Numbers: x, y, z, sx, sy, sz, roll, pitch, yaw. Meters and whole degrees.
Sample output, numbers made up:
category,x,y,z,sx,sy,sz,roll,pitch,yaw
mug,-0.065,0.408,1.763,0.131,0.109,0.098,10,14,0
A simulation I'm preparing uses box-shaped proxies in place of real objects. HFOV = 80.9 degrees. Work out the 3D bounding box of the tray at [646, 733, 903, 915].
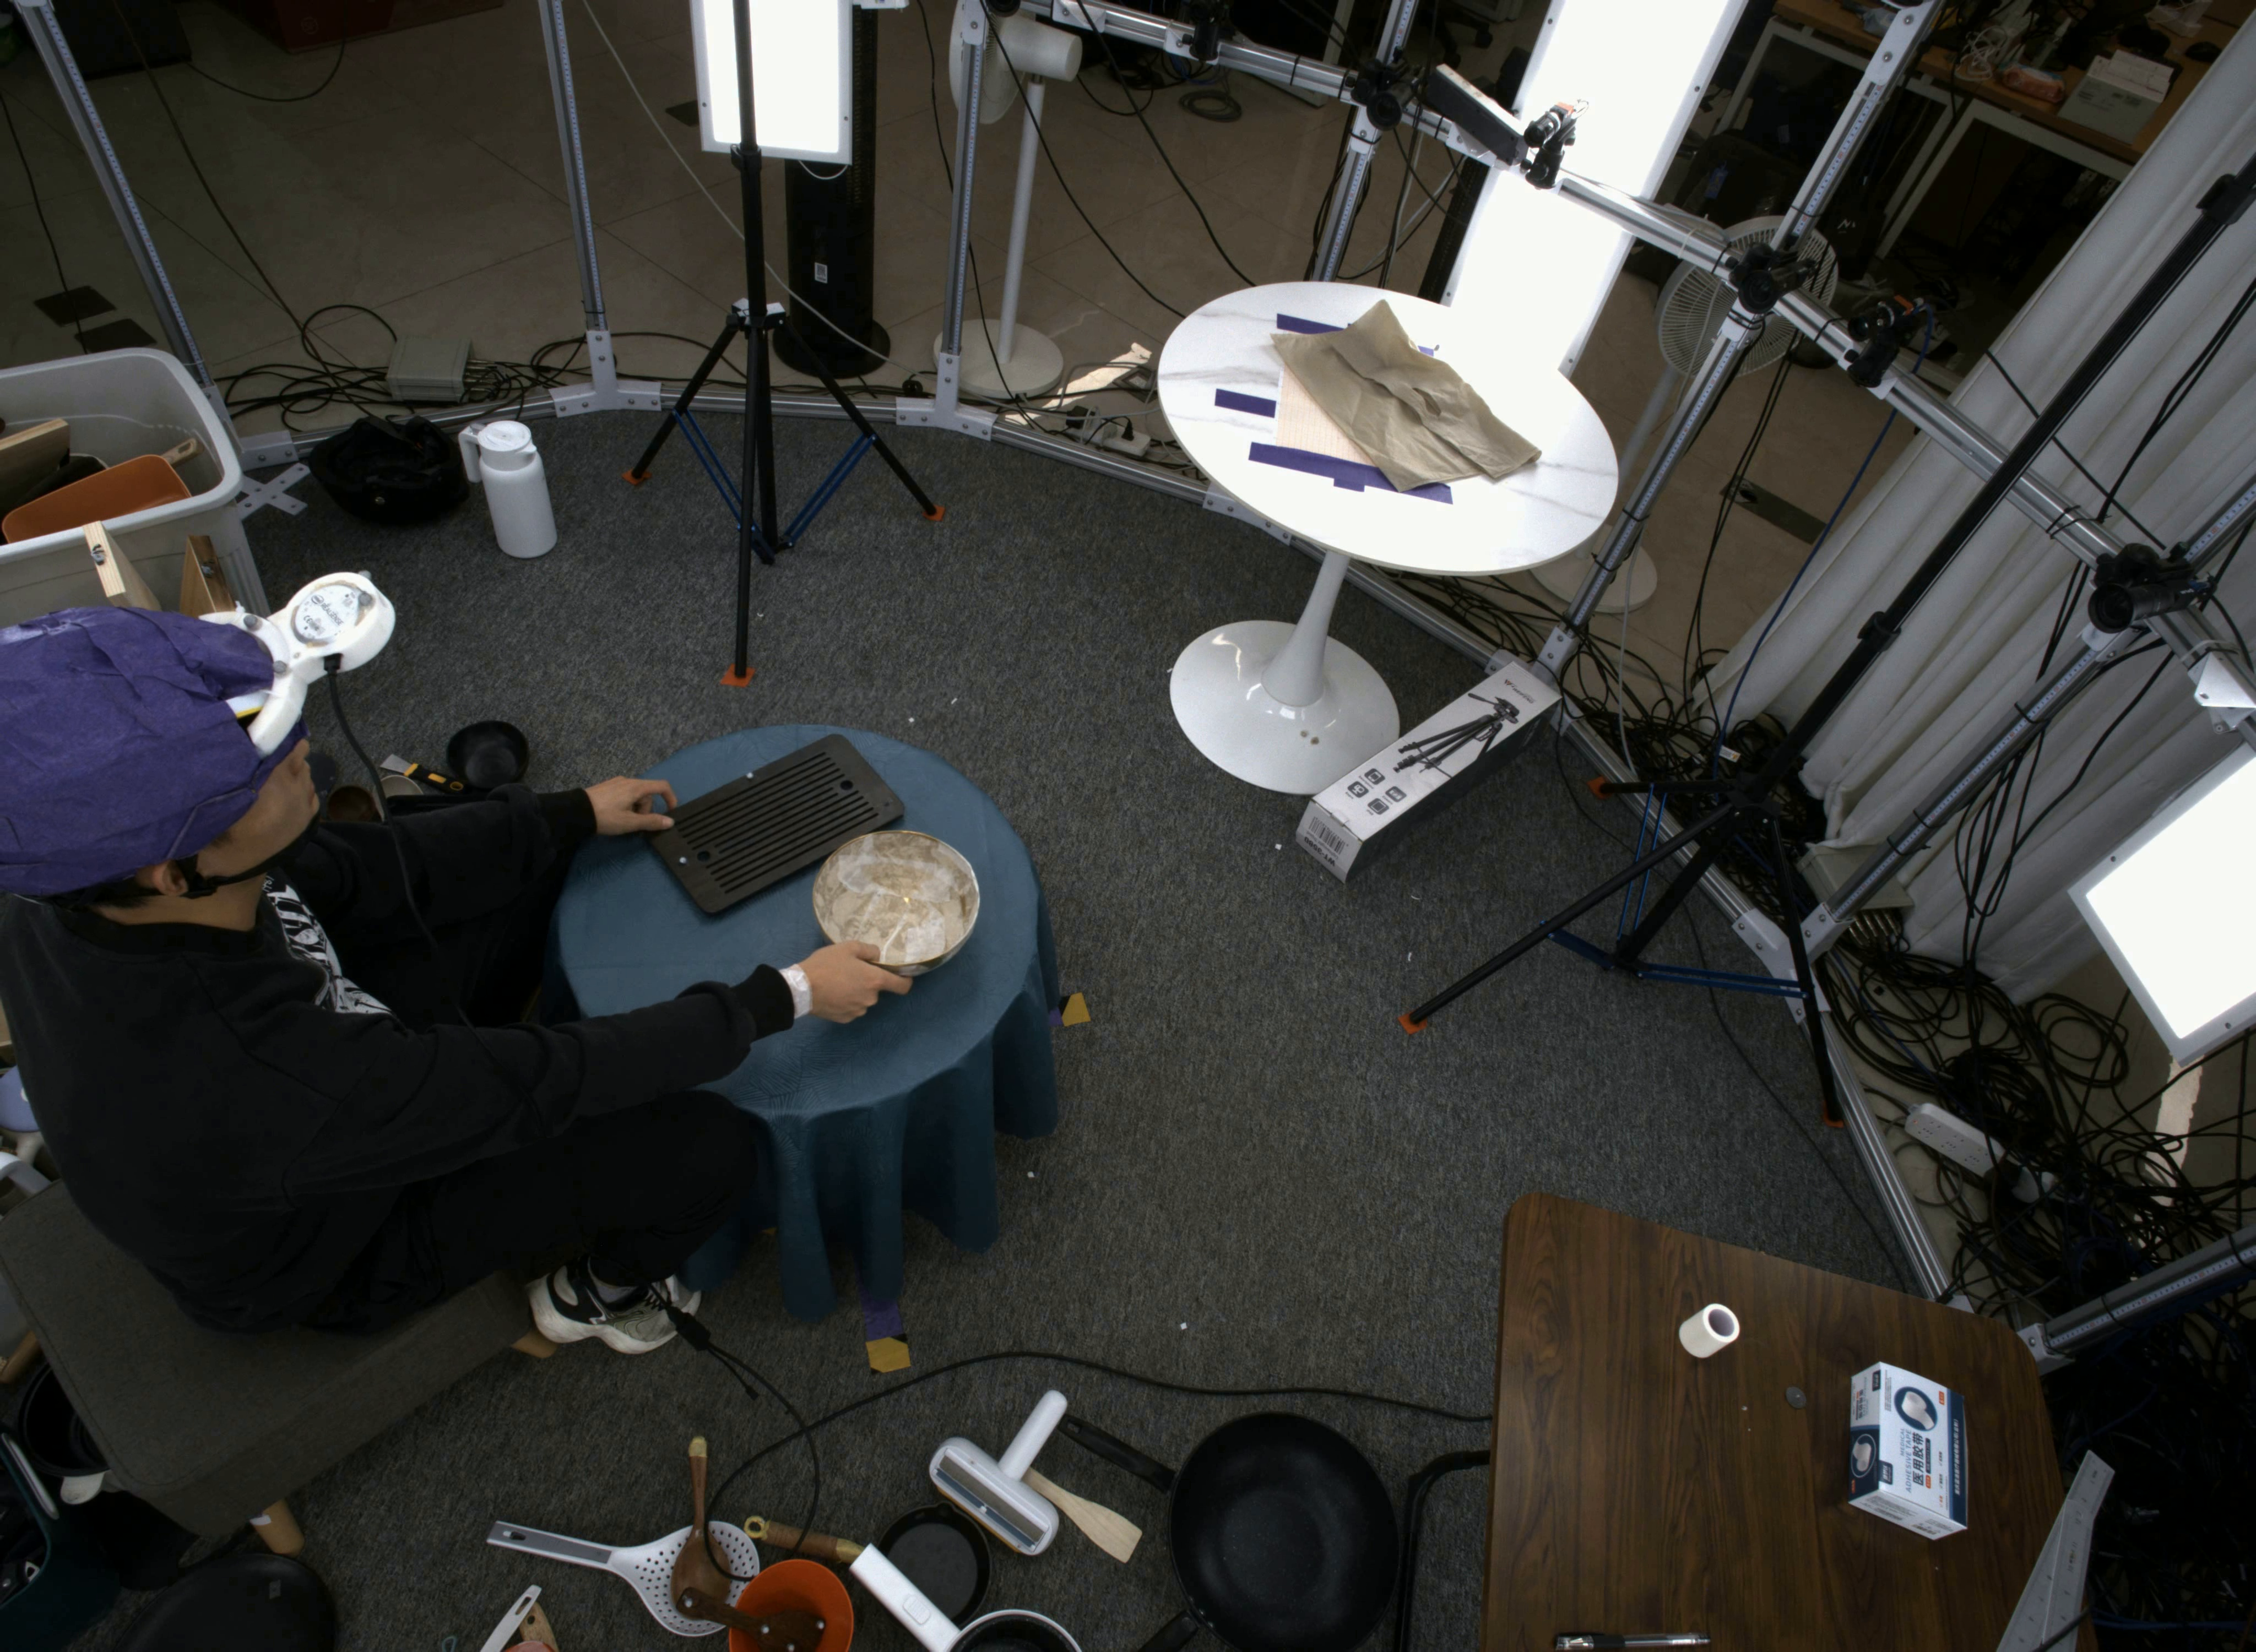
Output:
category,x,y,z,sx,sy,sz,roll,pitch,yaw
tray,-0.465,-0.008,1.713,0.307,0.019,0.166,-31,66,-31

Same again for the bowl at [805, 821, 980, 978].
category,x,y,z,sx,sy,sz,roll,pitch,yaw
bowl,-0.293,0.106,1.623,0.214,0.096,0.211,7,54,-8
